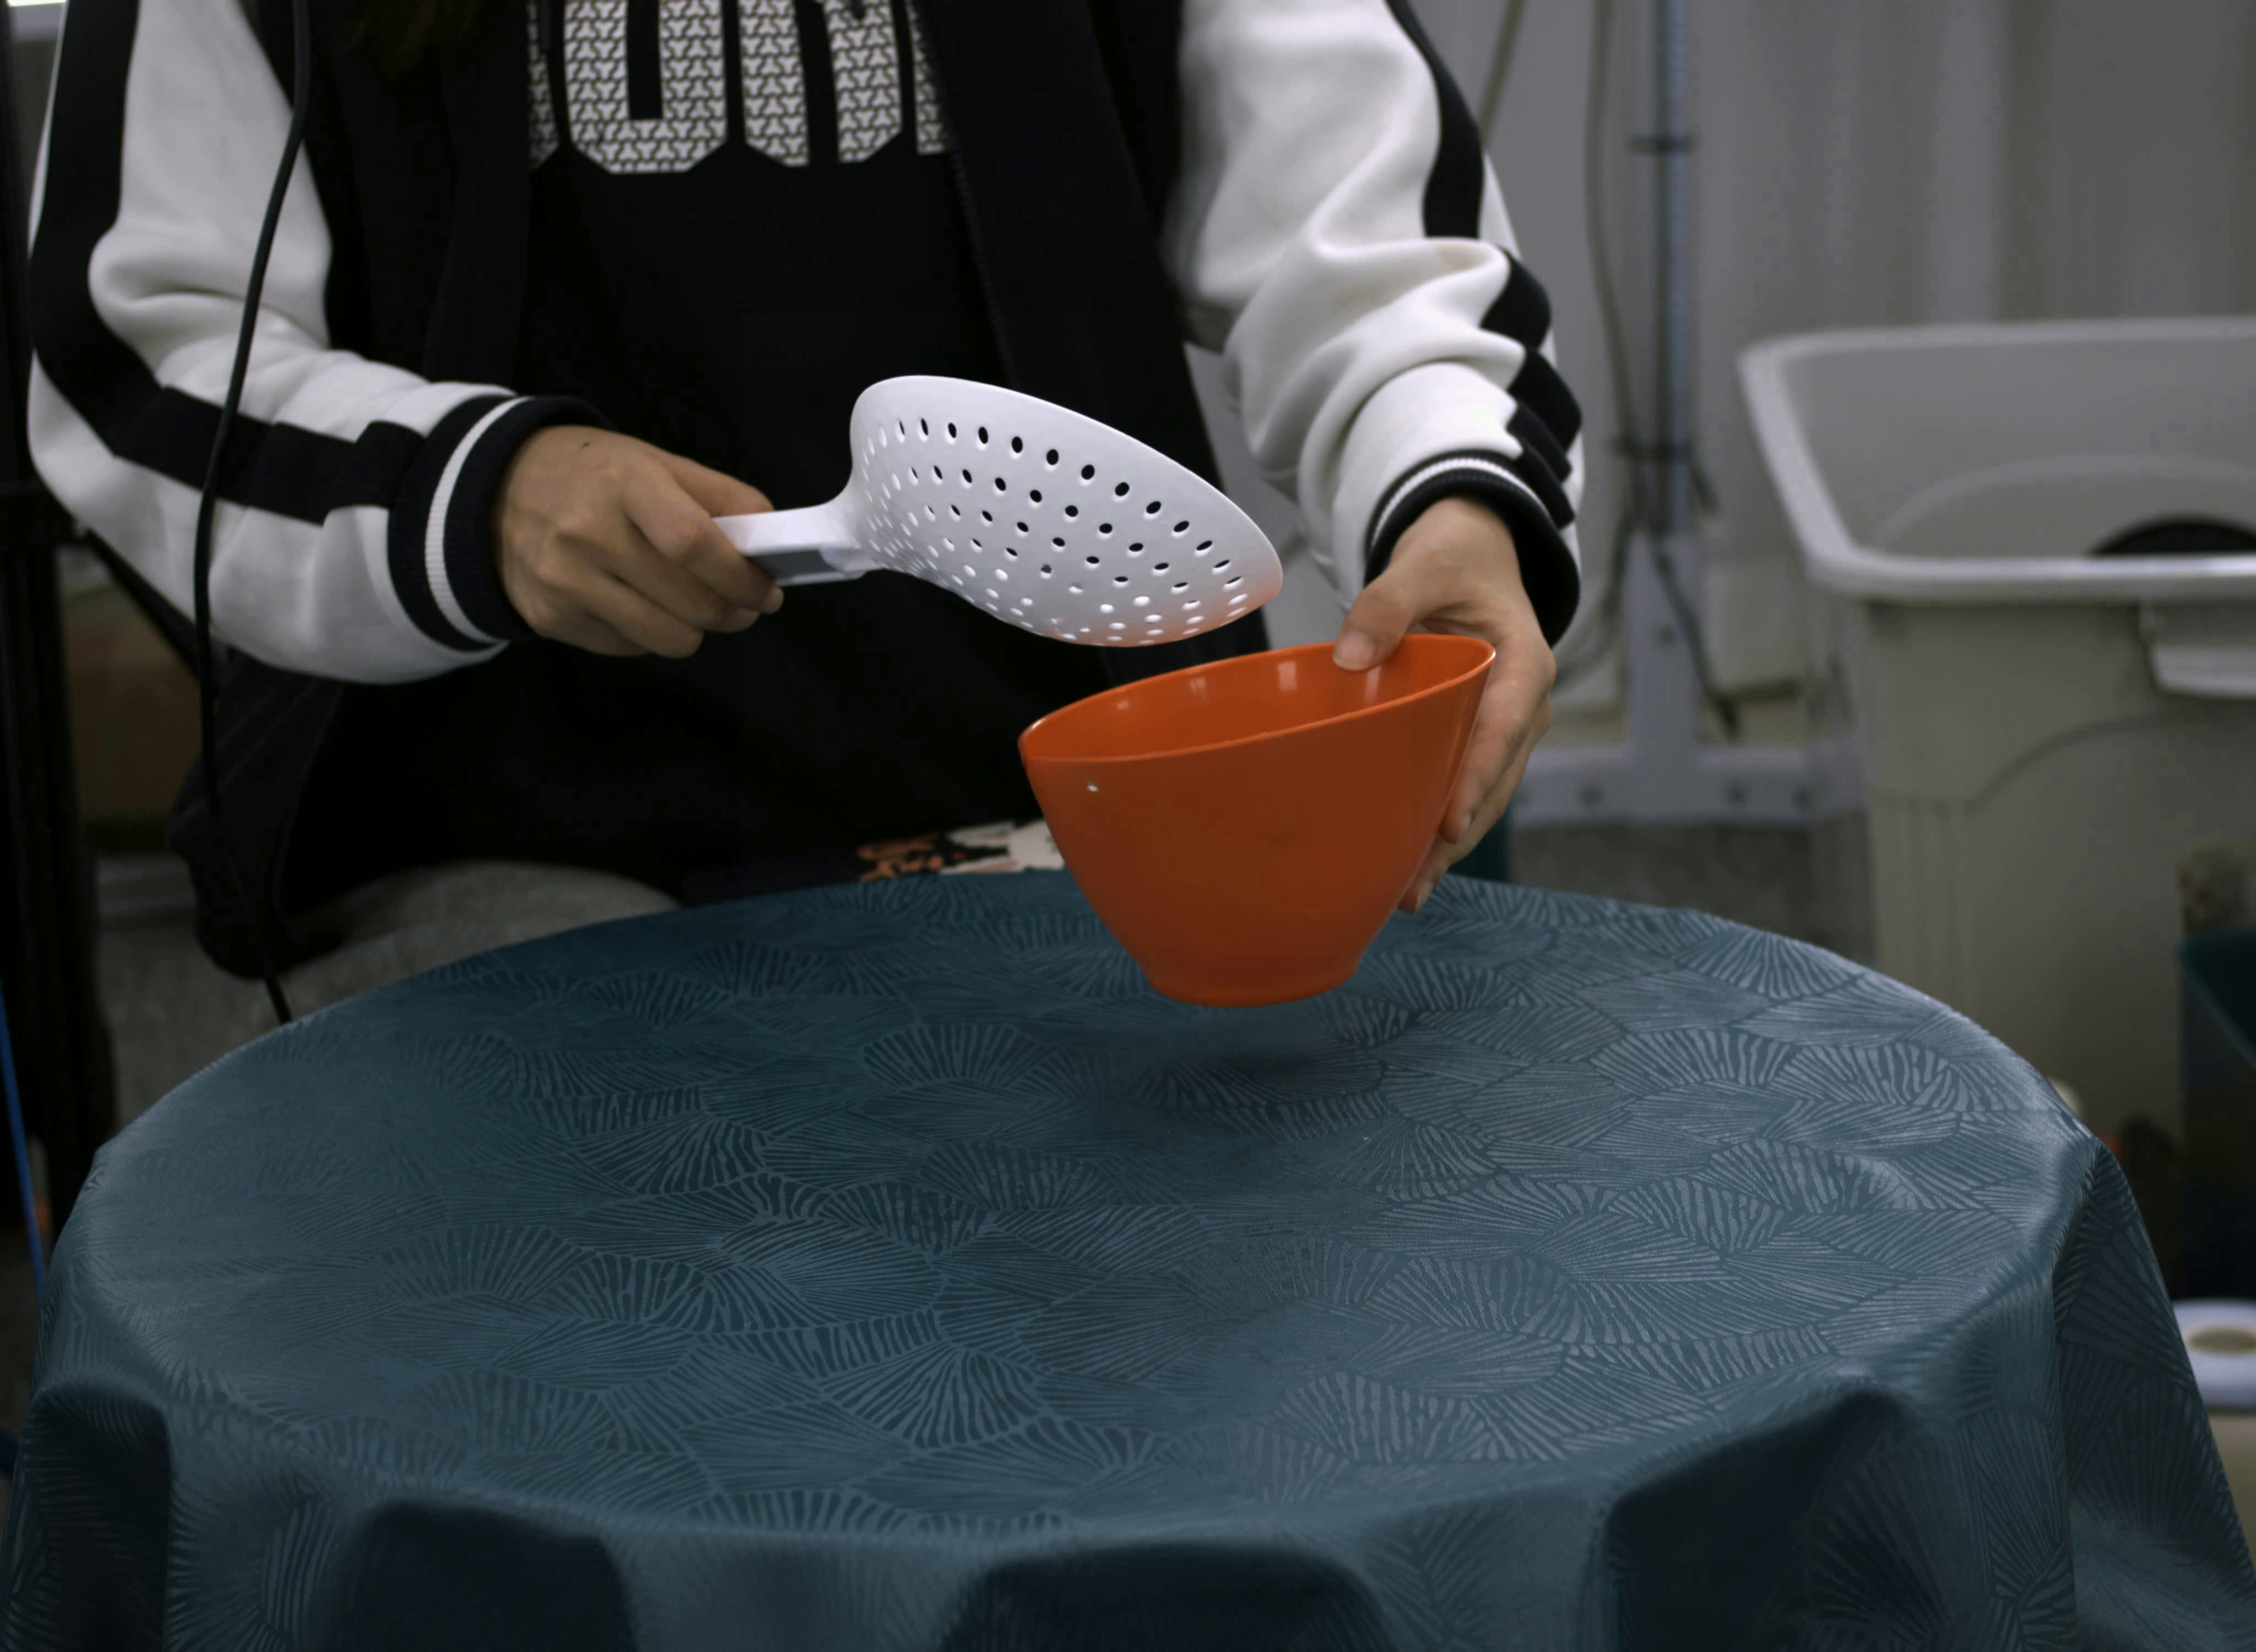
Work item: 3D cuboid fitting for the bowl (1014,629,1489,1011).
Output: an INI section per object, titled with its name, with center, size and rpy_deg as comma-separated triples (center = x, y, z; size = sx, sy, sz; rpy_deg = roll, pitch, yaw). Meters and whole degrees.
[bowl]
center = 0.041, -0.001, 1.628
size = 0.147, 0.104, 0.149
rpy_deg = -7, 19, 1

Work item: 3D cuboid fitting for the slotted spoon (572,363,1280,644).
[slotted spoon]
center = -0.081, -0.090, 1.659
size = 0.133, 0.046, 0.357
rpy_deg = 35, -15, -28
